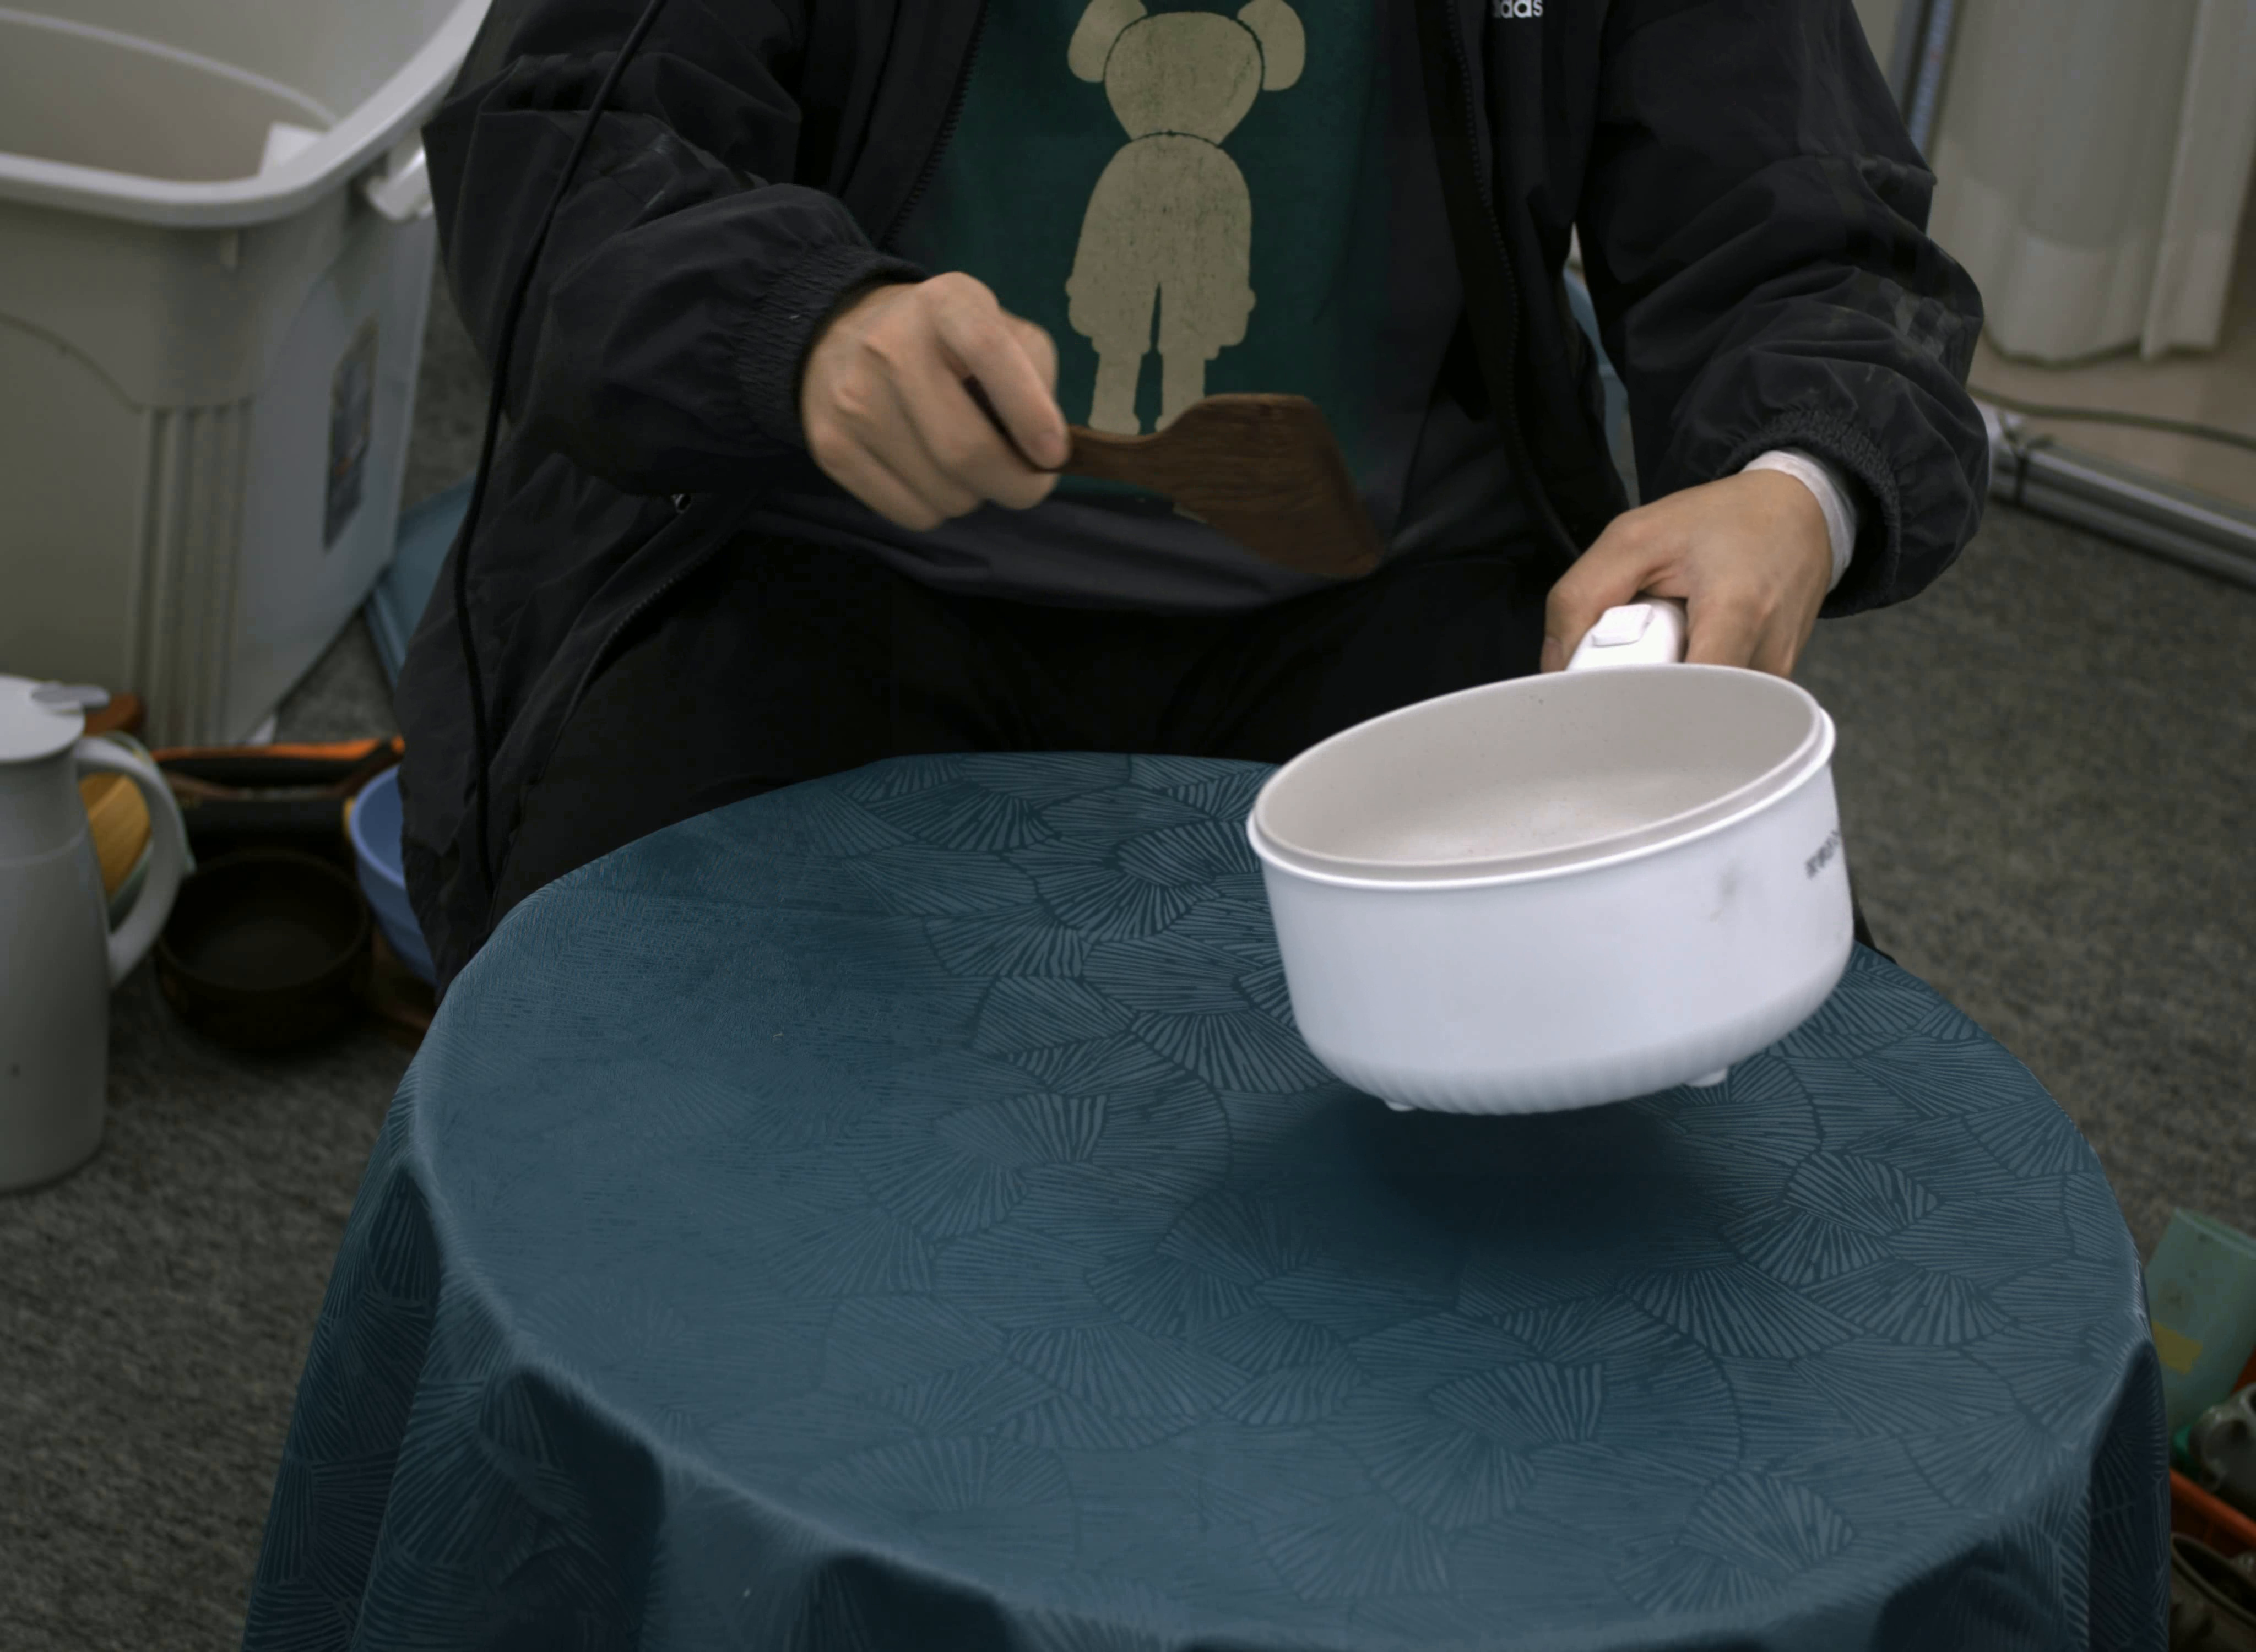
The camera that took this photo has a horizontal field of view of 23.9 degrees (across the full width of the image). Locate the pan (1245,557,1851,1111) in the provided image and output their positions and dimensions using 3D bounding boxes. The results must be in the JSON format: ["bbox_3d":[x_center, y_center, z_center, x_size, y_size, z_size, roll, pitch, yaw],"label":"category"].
[{"bbox_3d":[0.167,0.000,1.882,0.201,0.102,0.355,-7,16,19],"label":"pan"}]

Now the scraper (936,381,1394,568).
[{"bbox_3d":[0.006,-0.128,1.825,0.212,0.075,0.011,13,50,47],"label":"scraper"}]
